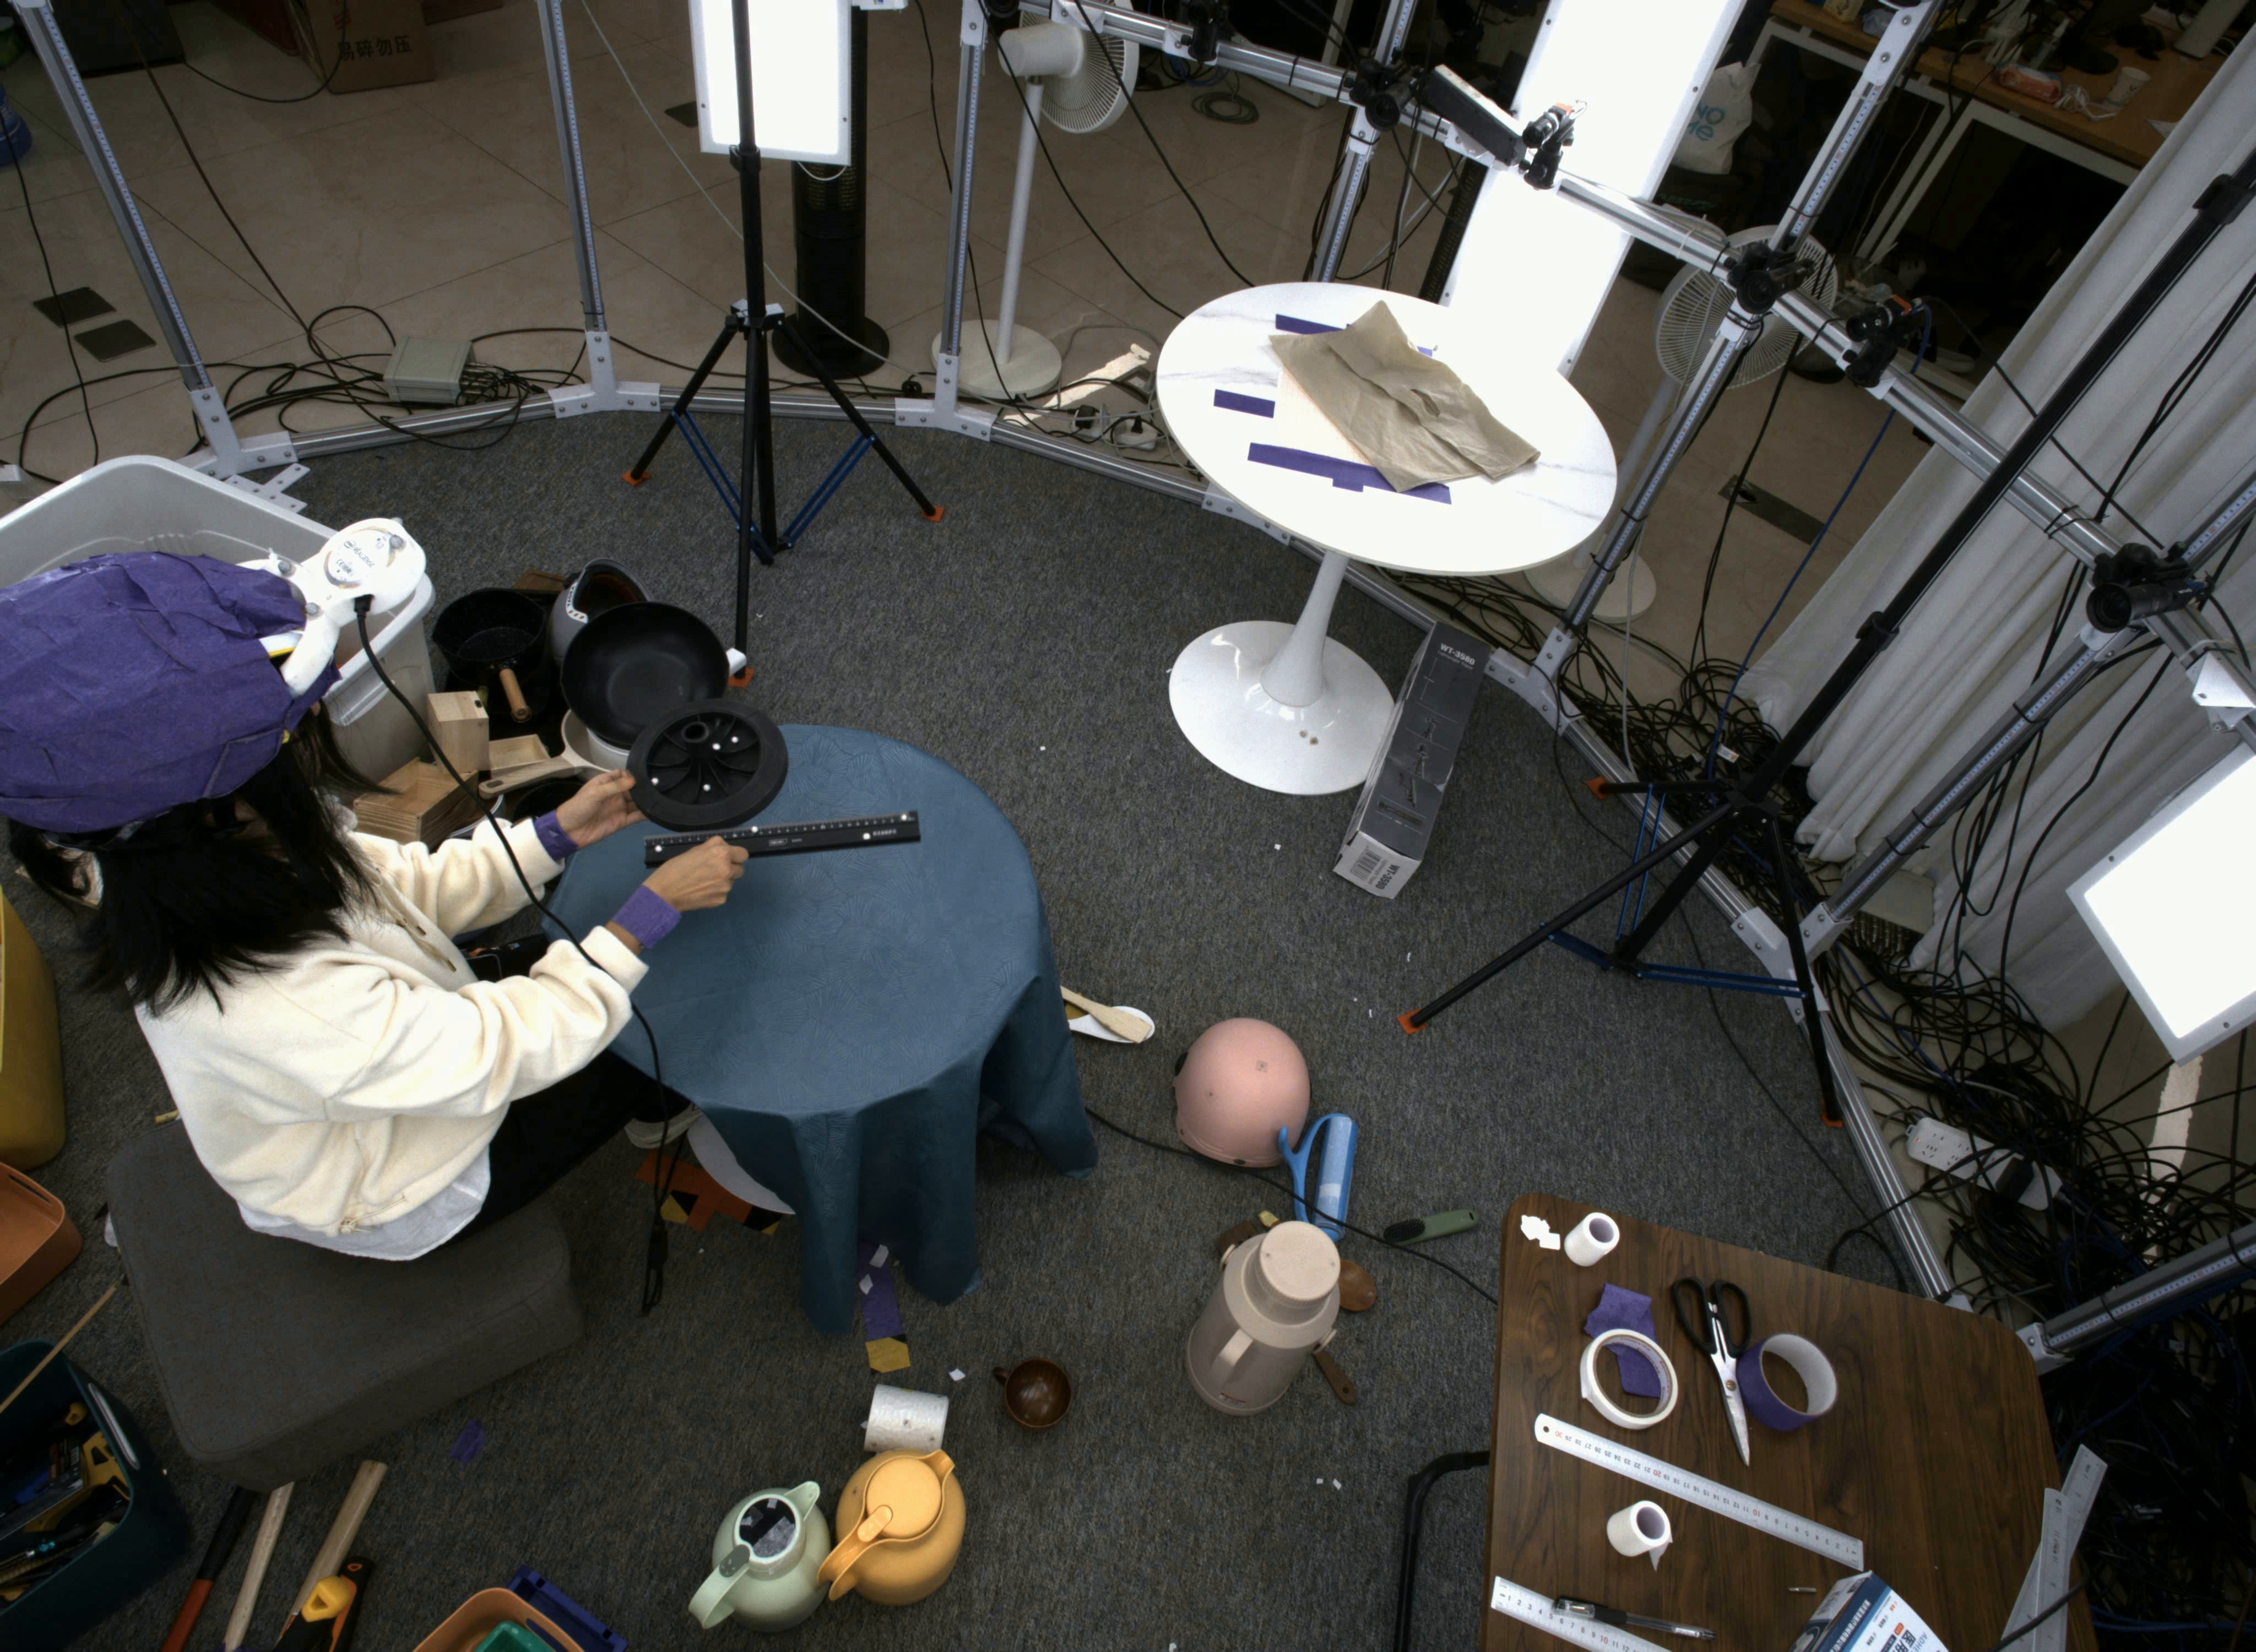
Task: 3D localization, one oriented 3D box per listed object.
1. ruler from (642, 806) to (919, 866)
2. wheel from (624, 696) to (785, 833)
[{"bbox_3d":[-0.395,0.007,1.478,0.313,0.017,0.039,-6,80,-16],"label":"ruler"},{"bbox_3d":[-0.498,-0.088,1.494,0.187,0.081,0.185,-15,59,-13],"label":"wheel"}]
